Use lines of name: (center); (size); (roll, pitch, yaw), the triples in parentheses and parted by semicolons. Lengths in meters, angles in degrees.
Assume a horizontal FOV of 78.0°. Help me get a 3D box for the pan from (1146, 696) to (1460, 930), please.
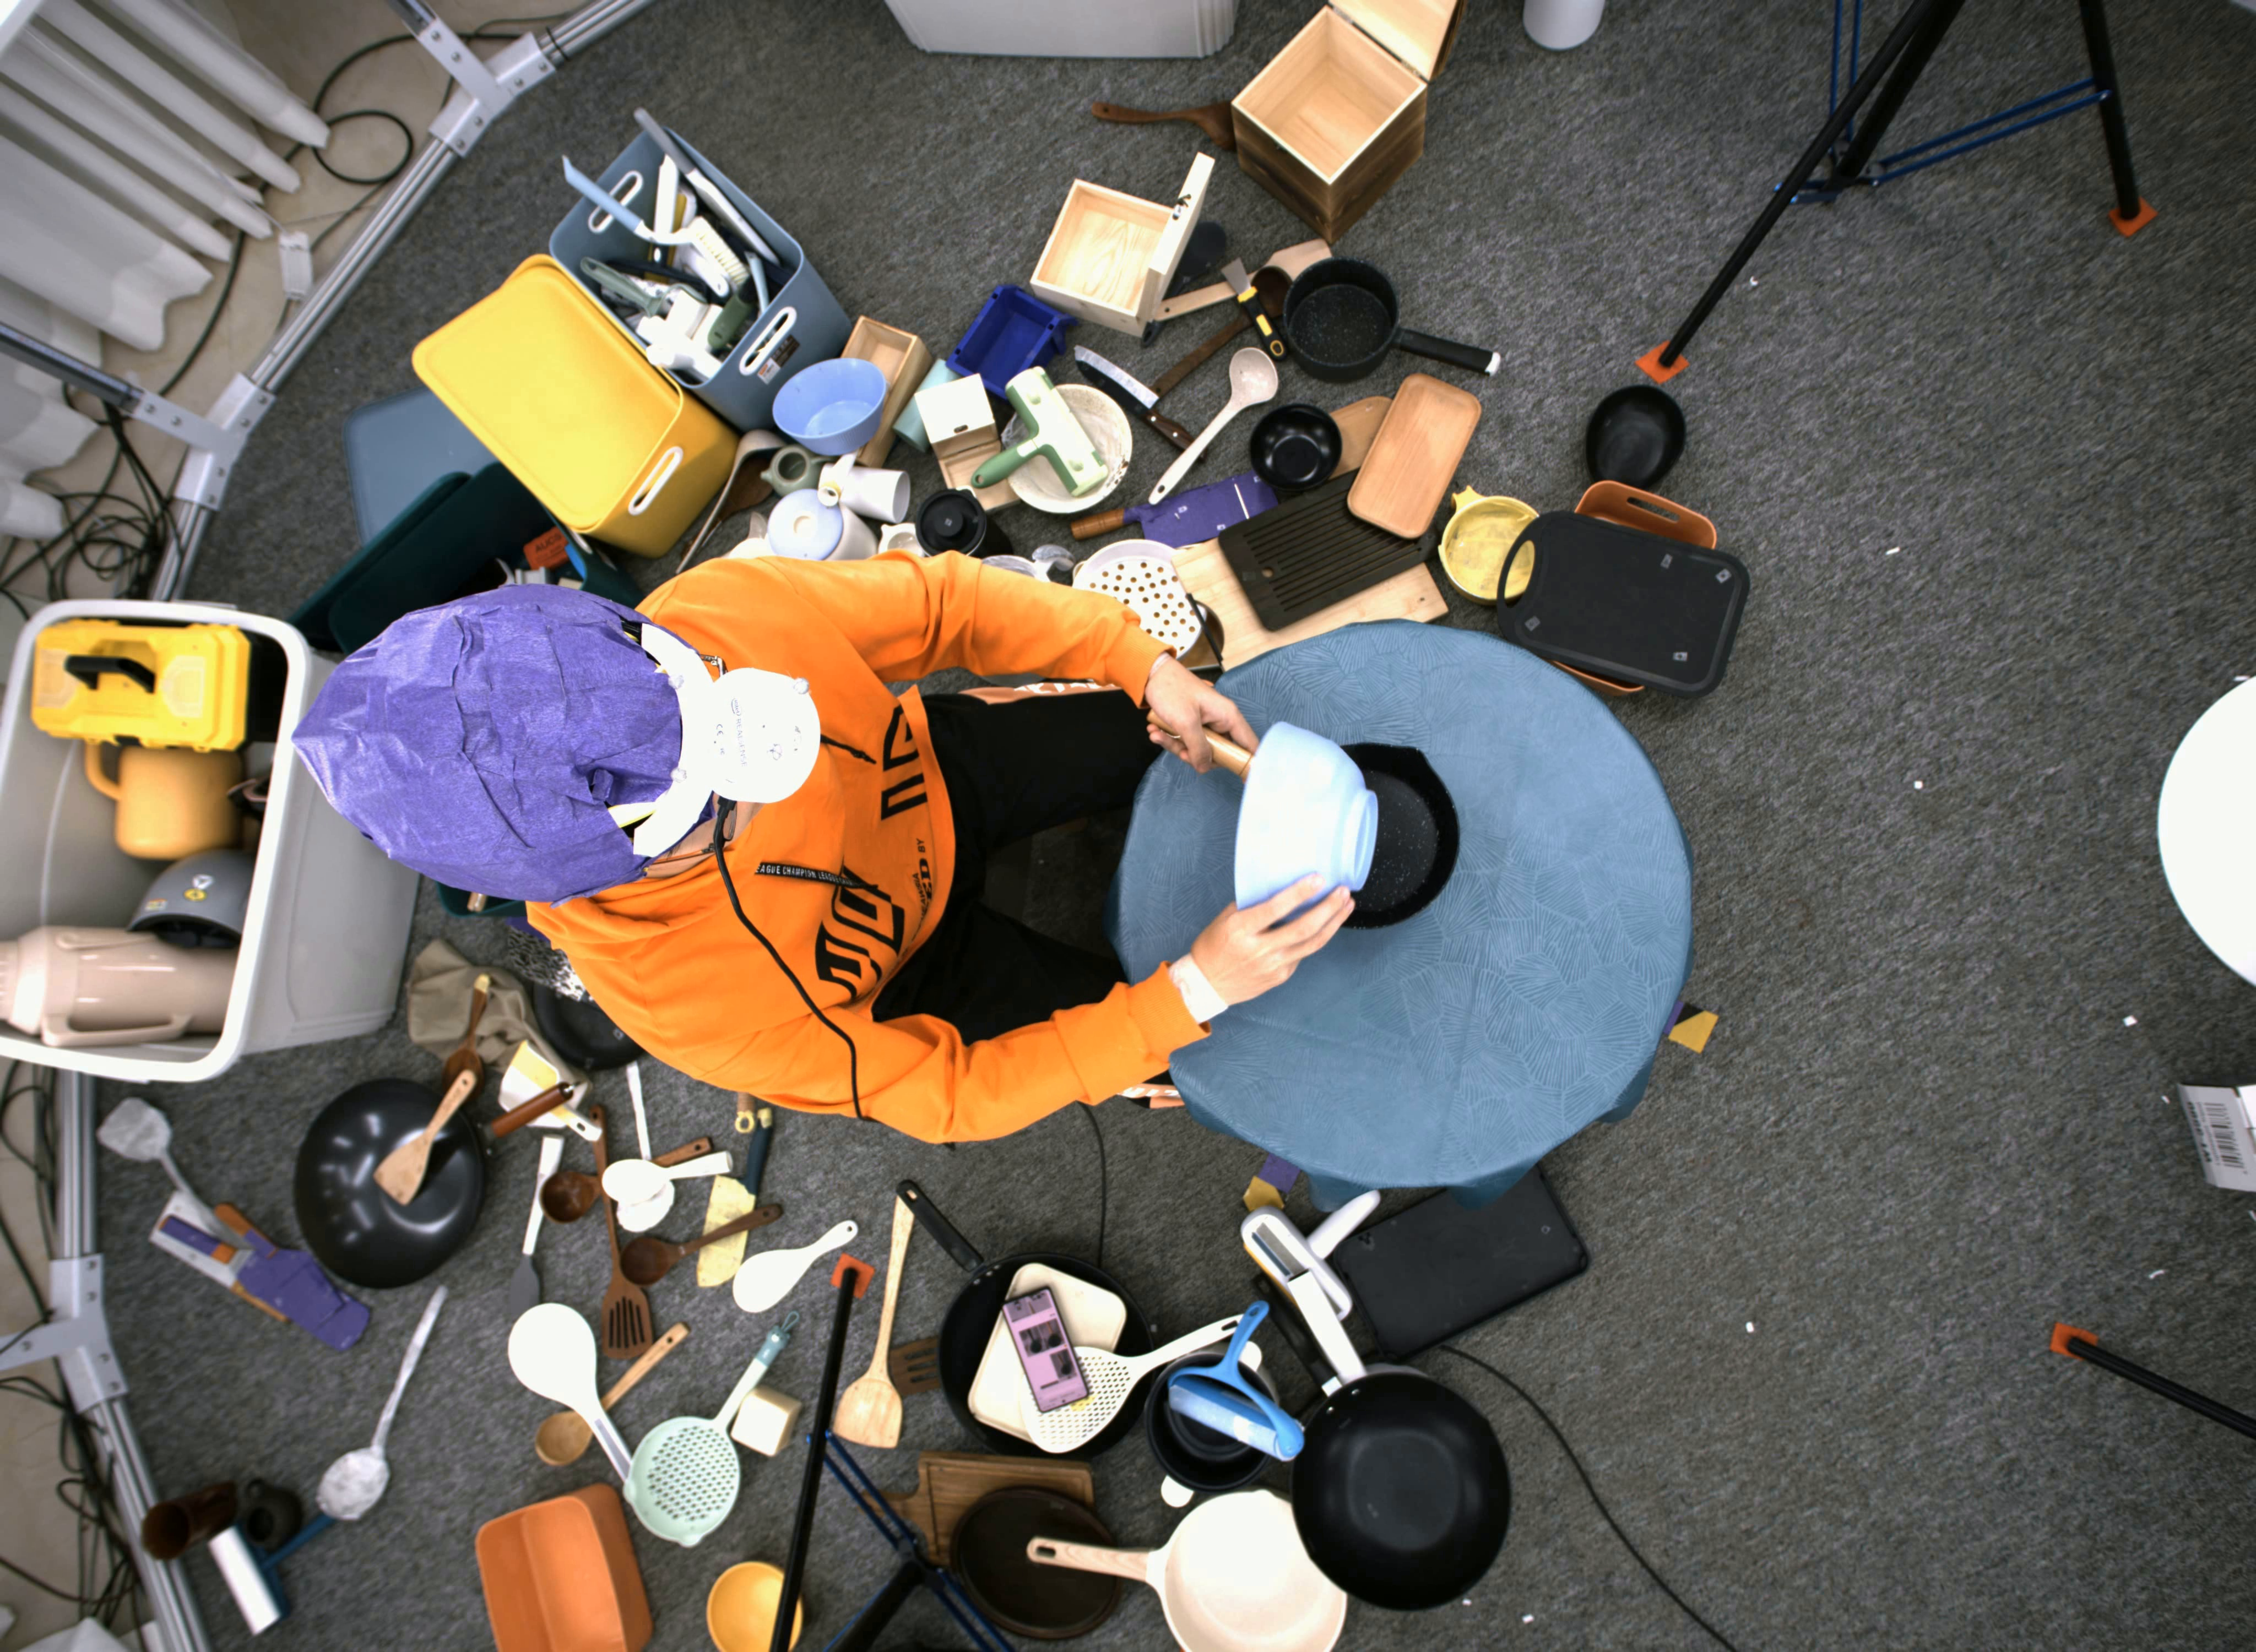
pan: (0.170, -0.029, 1.395); (0.342, 0.108, 0.208); (31, 95, 10)

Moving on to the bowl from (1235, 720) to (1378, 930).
bowl: (0.173, 0.004, 1.269); (0.096, 0.196, 0.196); (8, 86, 22)
